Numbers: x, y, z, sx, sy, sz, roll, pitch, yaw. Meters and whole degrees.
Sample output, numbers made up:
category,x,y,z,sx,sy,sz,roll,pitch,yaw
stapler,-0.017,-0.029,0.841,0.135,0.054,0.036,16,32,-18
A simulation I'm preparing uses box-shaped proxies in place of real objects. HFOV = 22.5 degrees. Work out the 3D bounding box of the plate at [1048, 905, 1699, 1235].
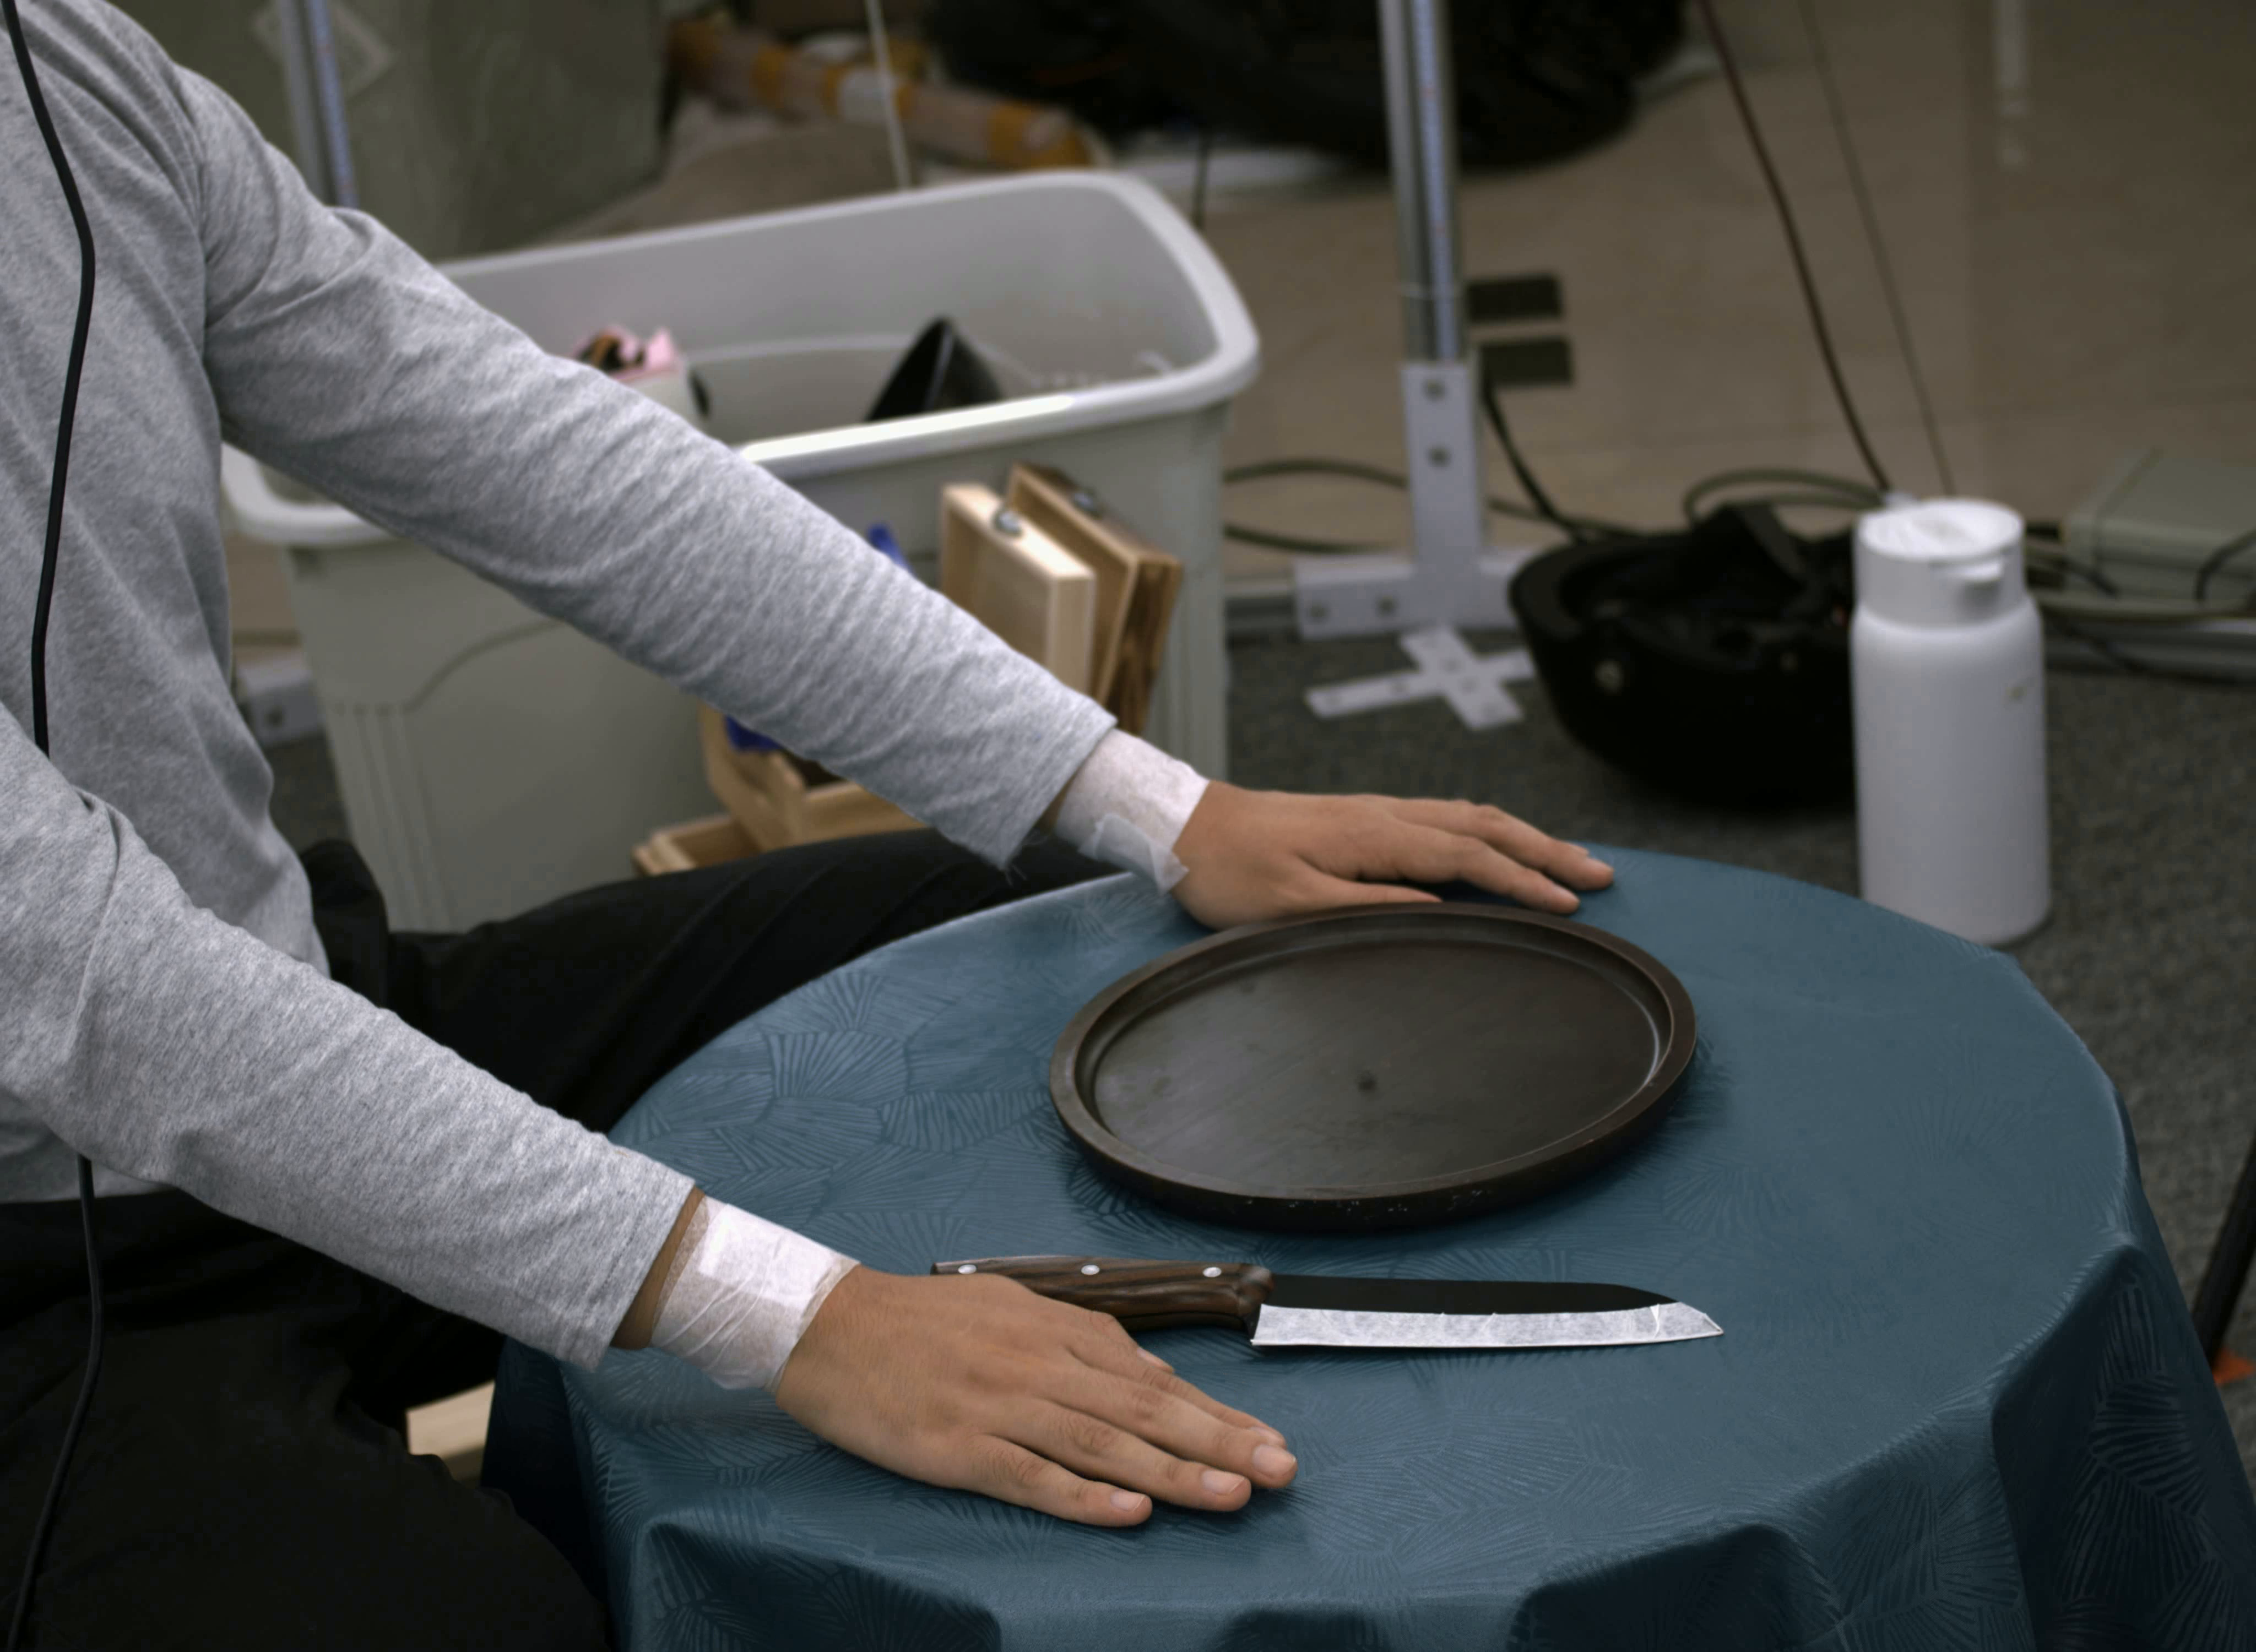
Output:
category,x,y,z,sx,sy,sz,roll,pitch,yaw
plate,0.095,0.093,2.199,0.254,0.029,0.251,-7,26,3

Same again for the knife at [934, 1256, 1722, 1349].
category,x,y,z,sx,sy,sz,roll,pitch,yaw
knife,0.070,0.173,2.042,0.288,0.020,0.049,1,31,11
